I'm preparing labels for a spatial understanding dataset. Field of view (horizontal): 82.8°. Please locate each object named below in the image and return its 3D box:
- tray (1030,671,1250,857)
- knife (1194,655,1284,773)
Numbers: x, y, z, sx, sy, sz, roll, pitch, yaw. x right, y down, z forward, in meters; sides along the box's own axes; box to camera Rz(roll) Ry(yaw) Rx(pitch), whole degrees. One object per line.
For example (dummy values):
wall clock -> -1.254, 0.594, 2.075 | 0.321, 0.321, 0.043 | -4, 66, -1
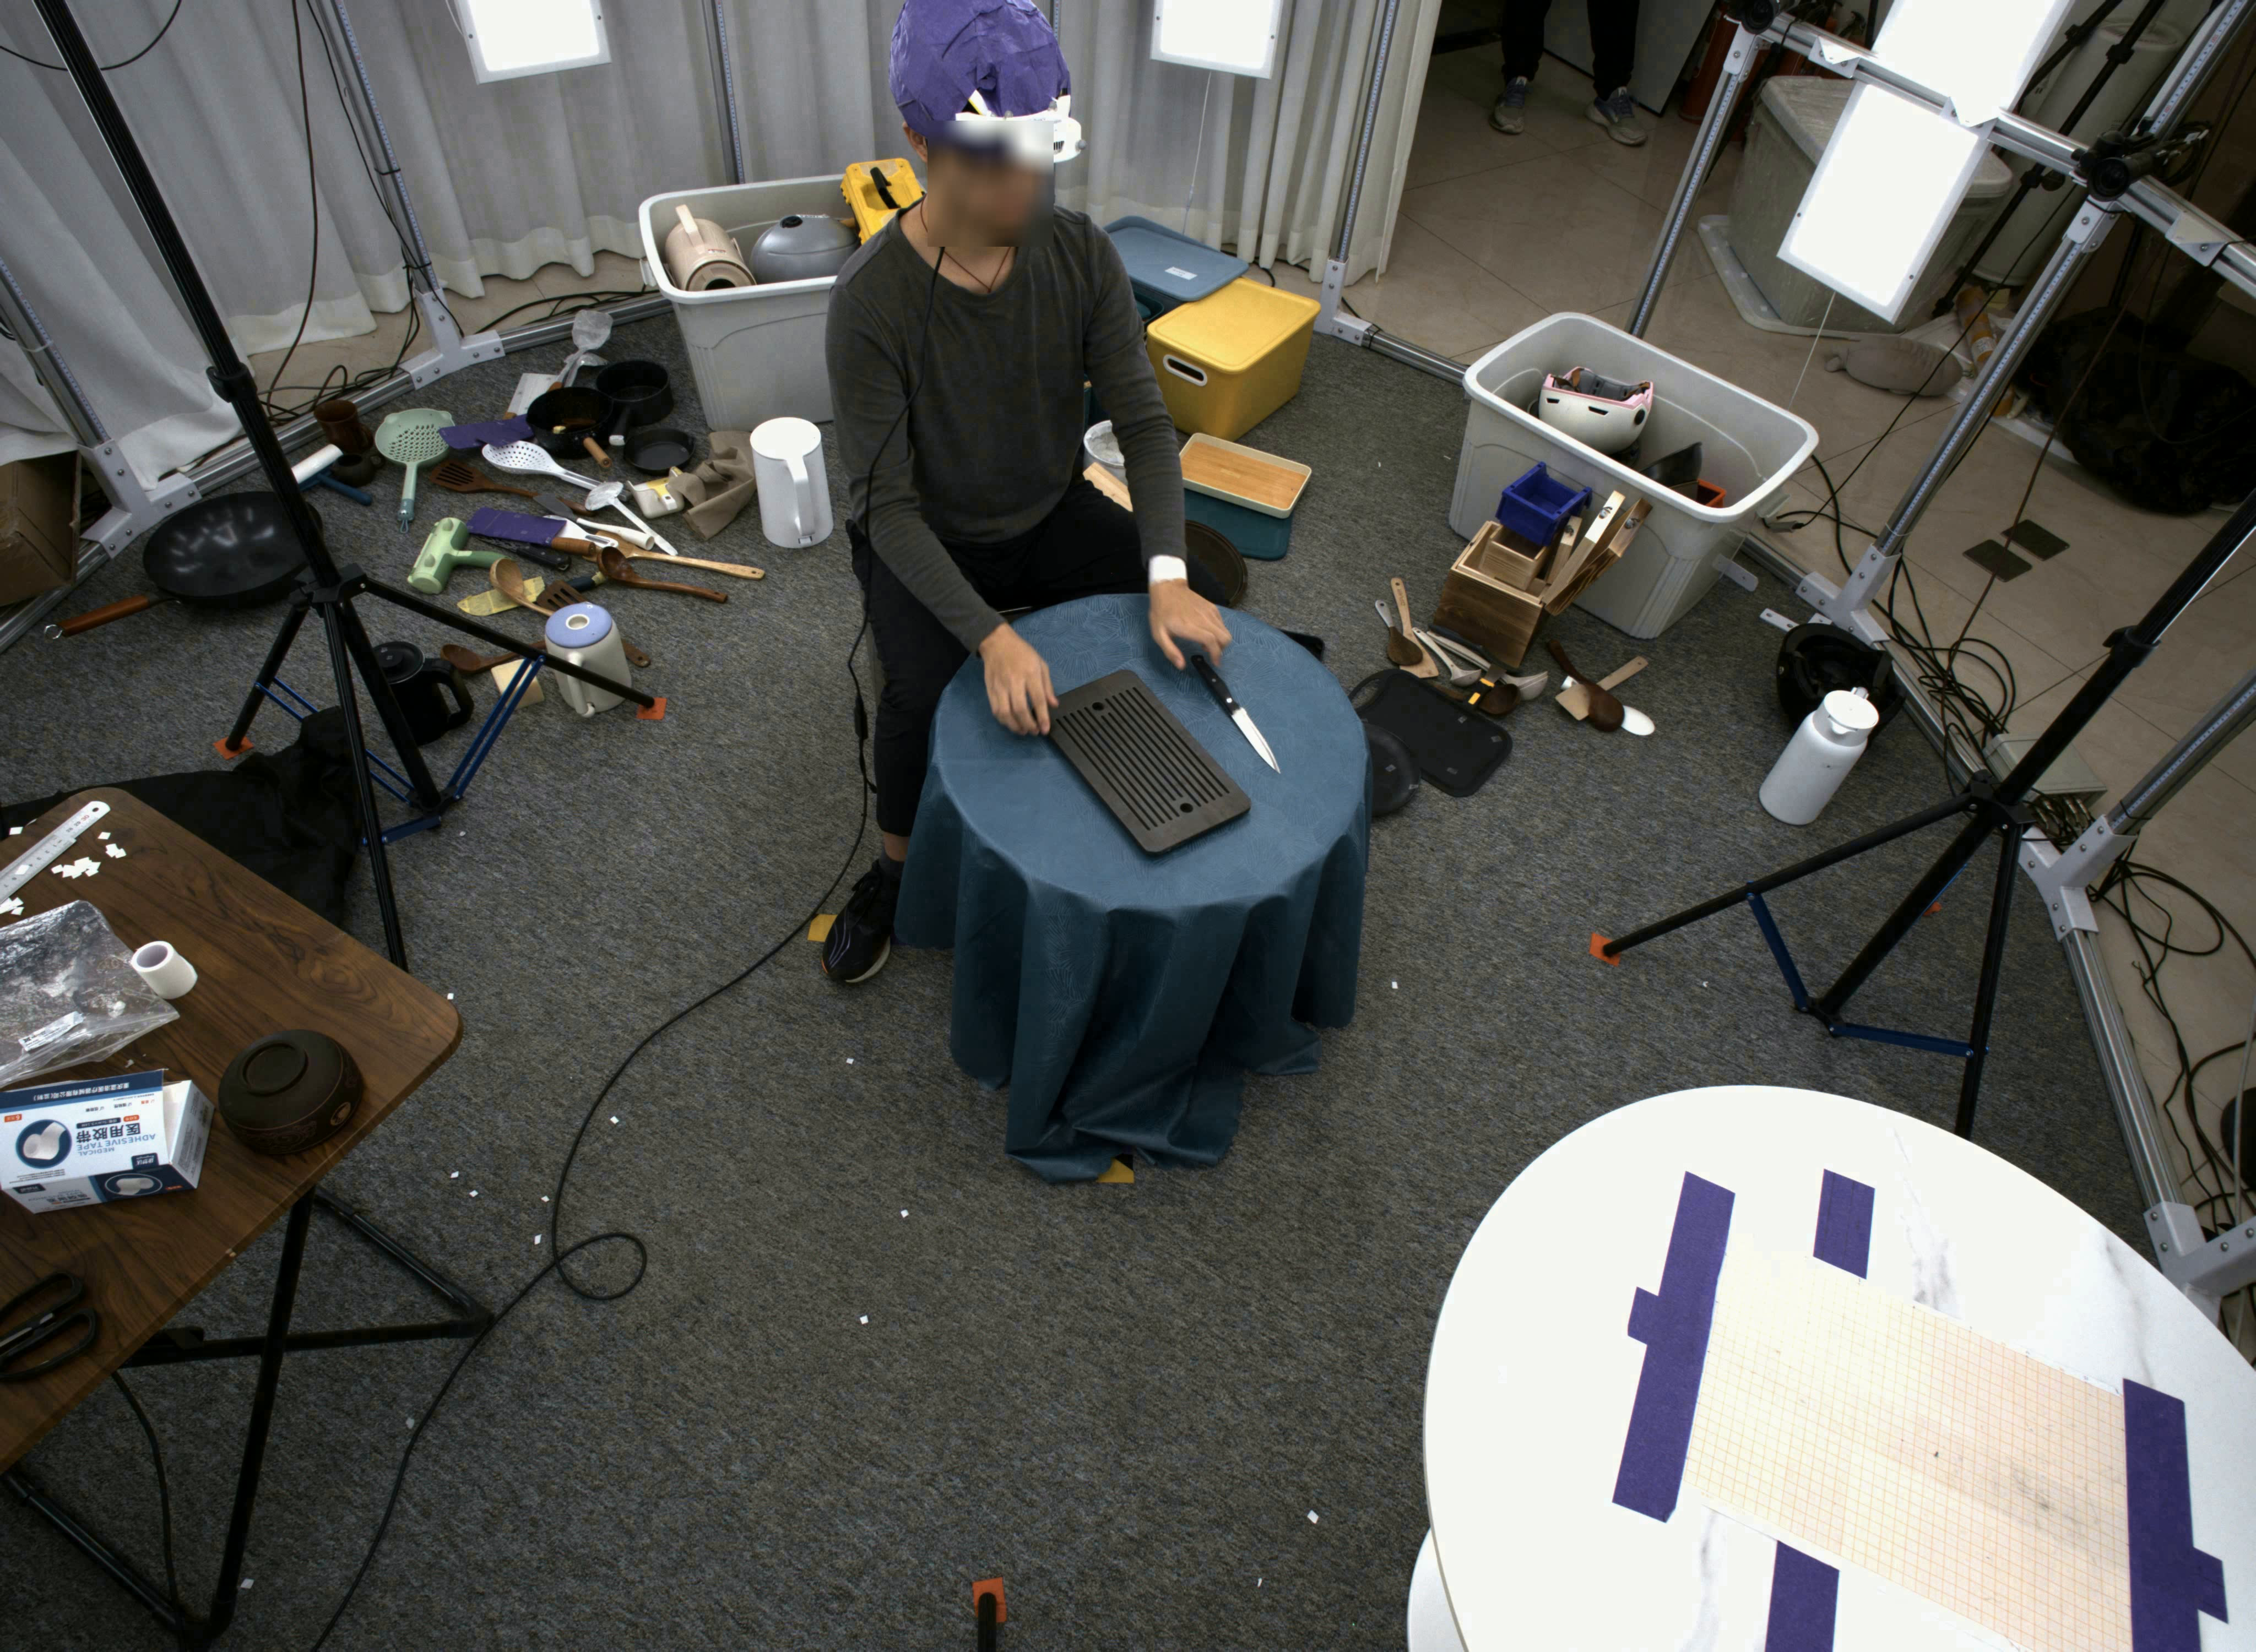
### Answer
tray -> 0.013, -0.089, 1.734 | 0.171, 0.018, 0.312 | -24, 55, -23
knife -> 0.154, -0.158, 1.808 | 0.024, 0.016, 0.243 | -20, 56, -19
